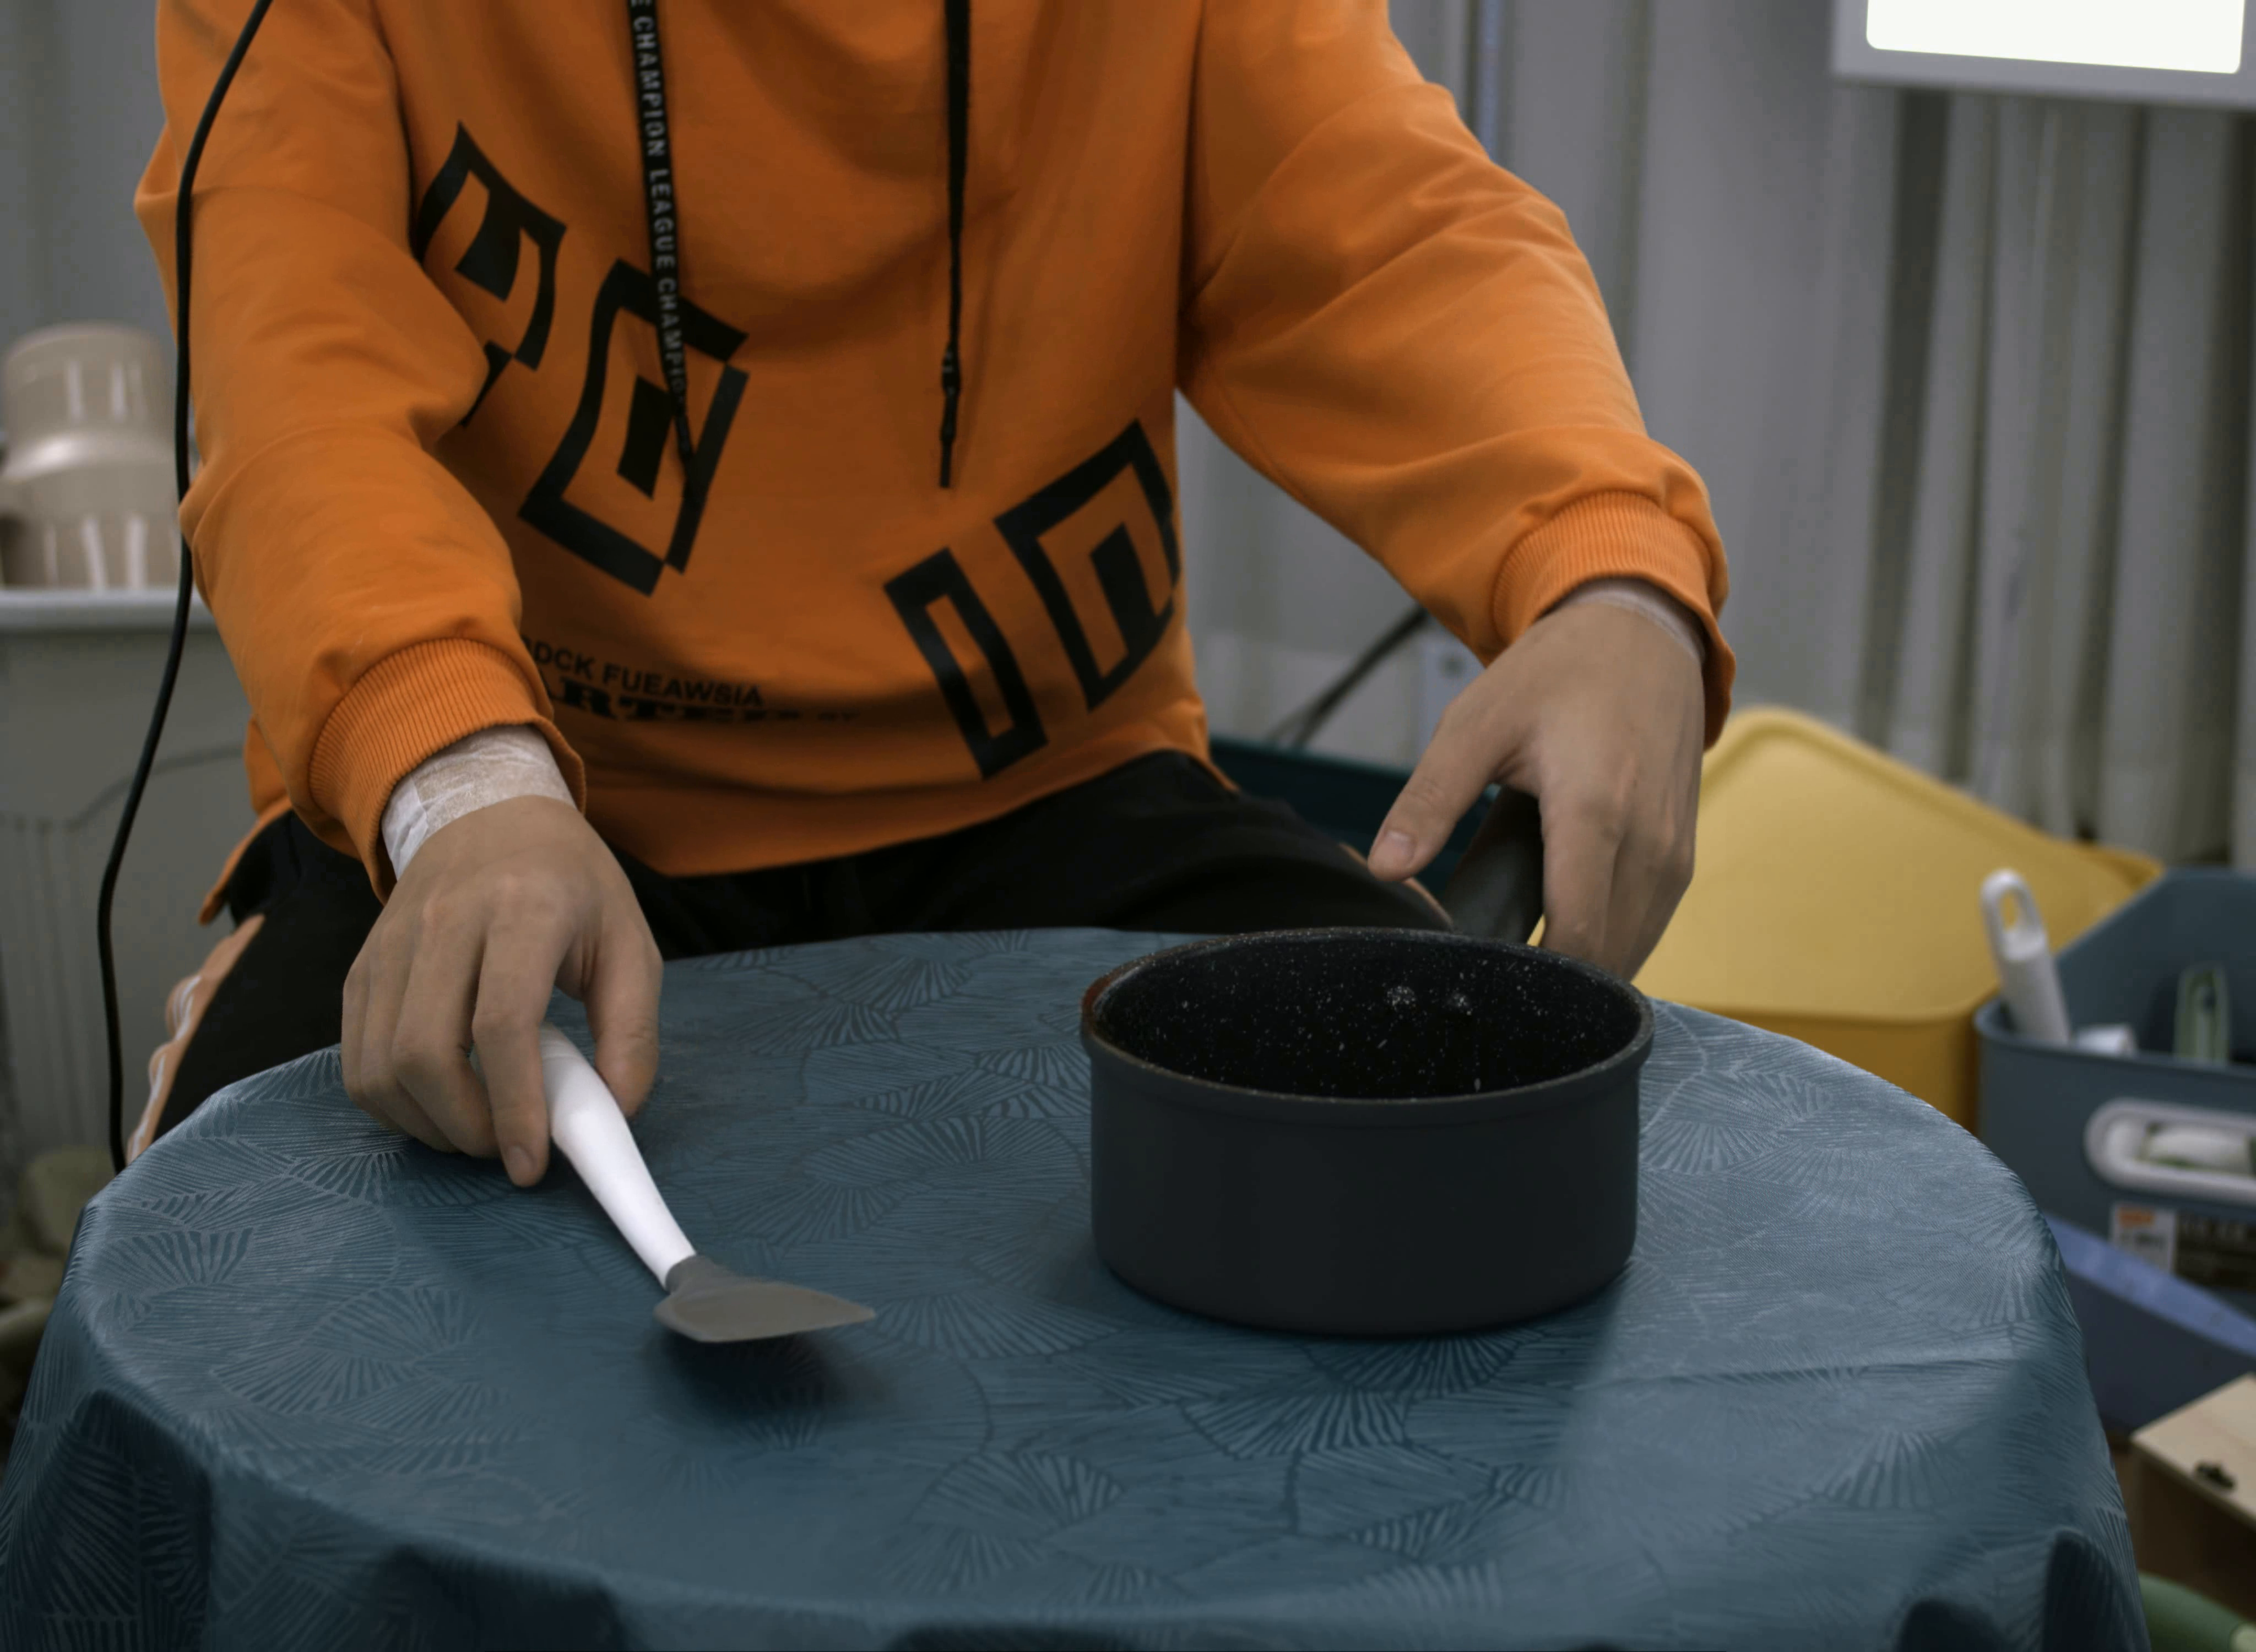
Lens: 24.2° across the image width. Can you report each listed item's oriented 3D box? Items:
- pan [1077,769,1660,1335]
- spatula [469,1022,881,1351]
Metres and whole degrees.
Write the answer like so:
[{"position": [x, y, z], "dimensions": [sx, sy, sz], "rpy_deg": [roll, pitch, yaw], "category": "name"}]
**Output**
[{"position": [0.097, 0.066, 1.634], "dimensions": [0.170, 0.087, 0.329], "rpy_deg": [7, 18, 19], "category": "pan"}, {"position": [-0.142, 0.112, 1.560], "dimensions": [0.059, 0.032, 0.284], "rpy_deg": [-3, 15, -22], "category": "spatula"}]
